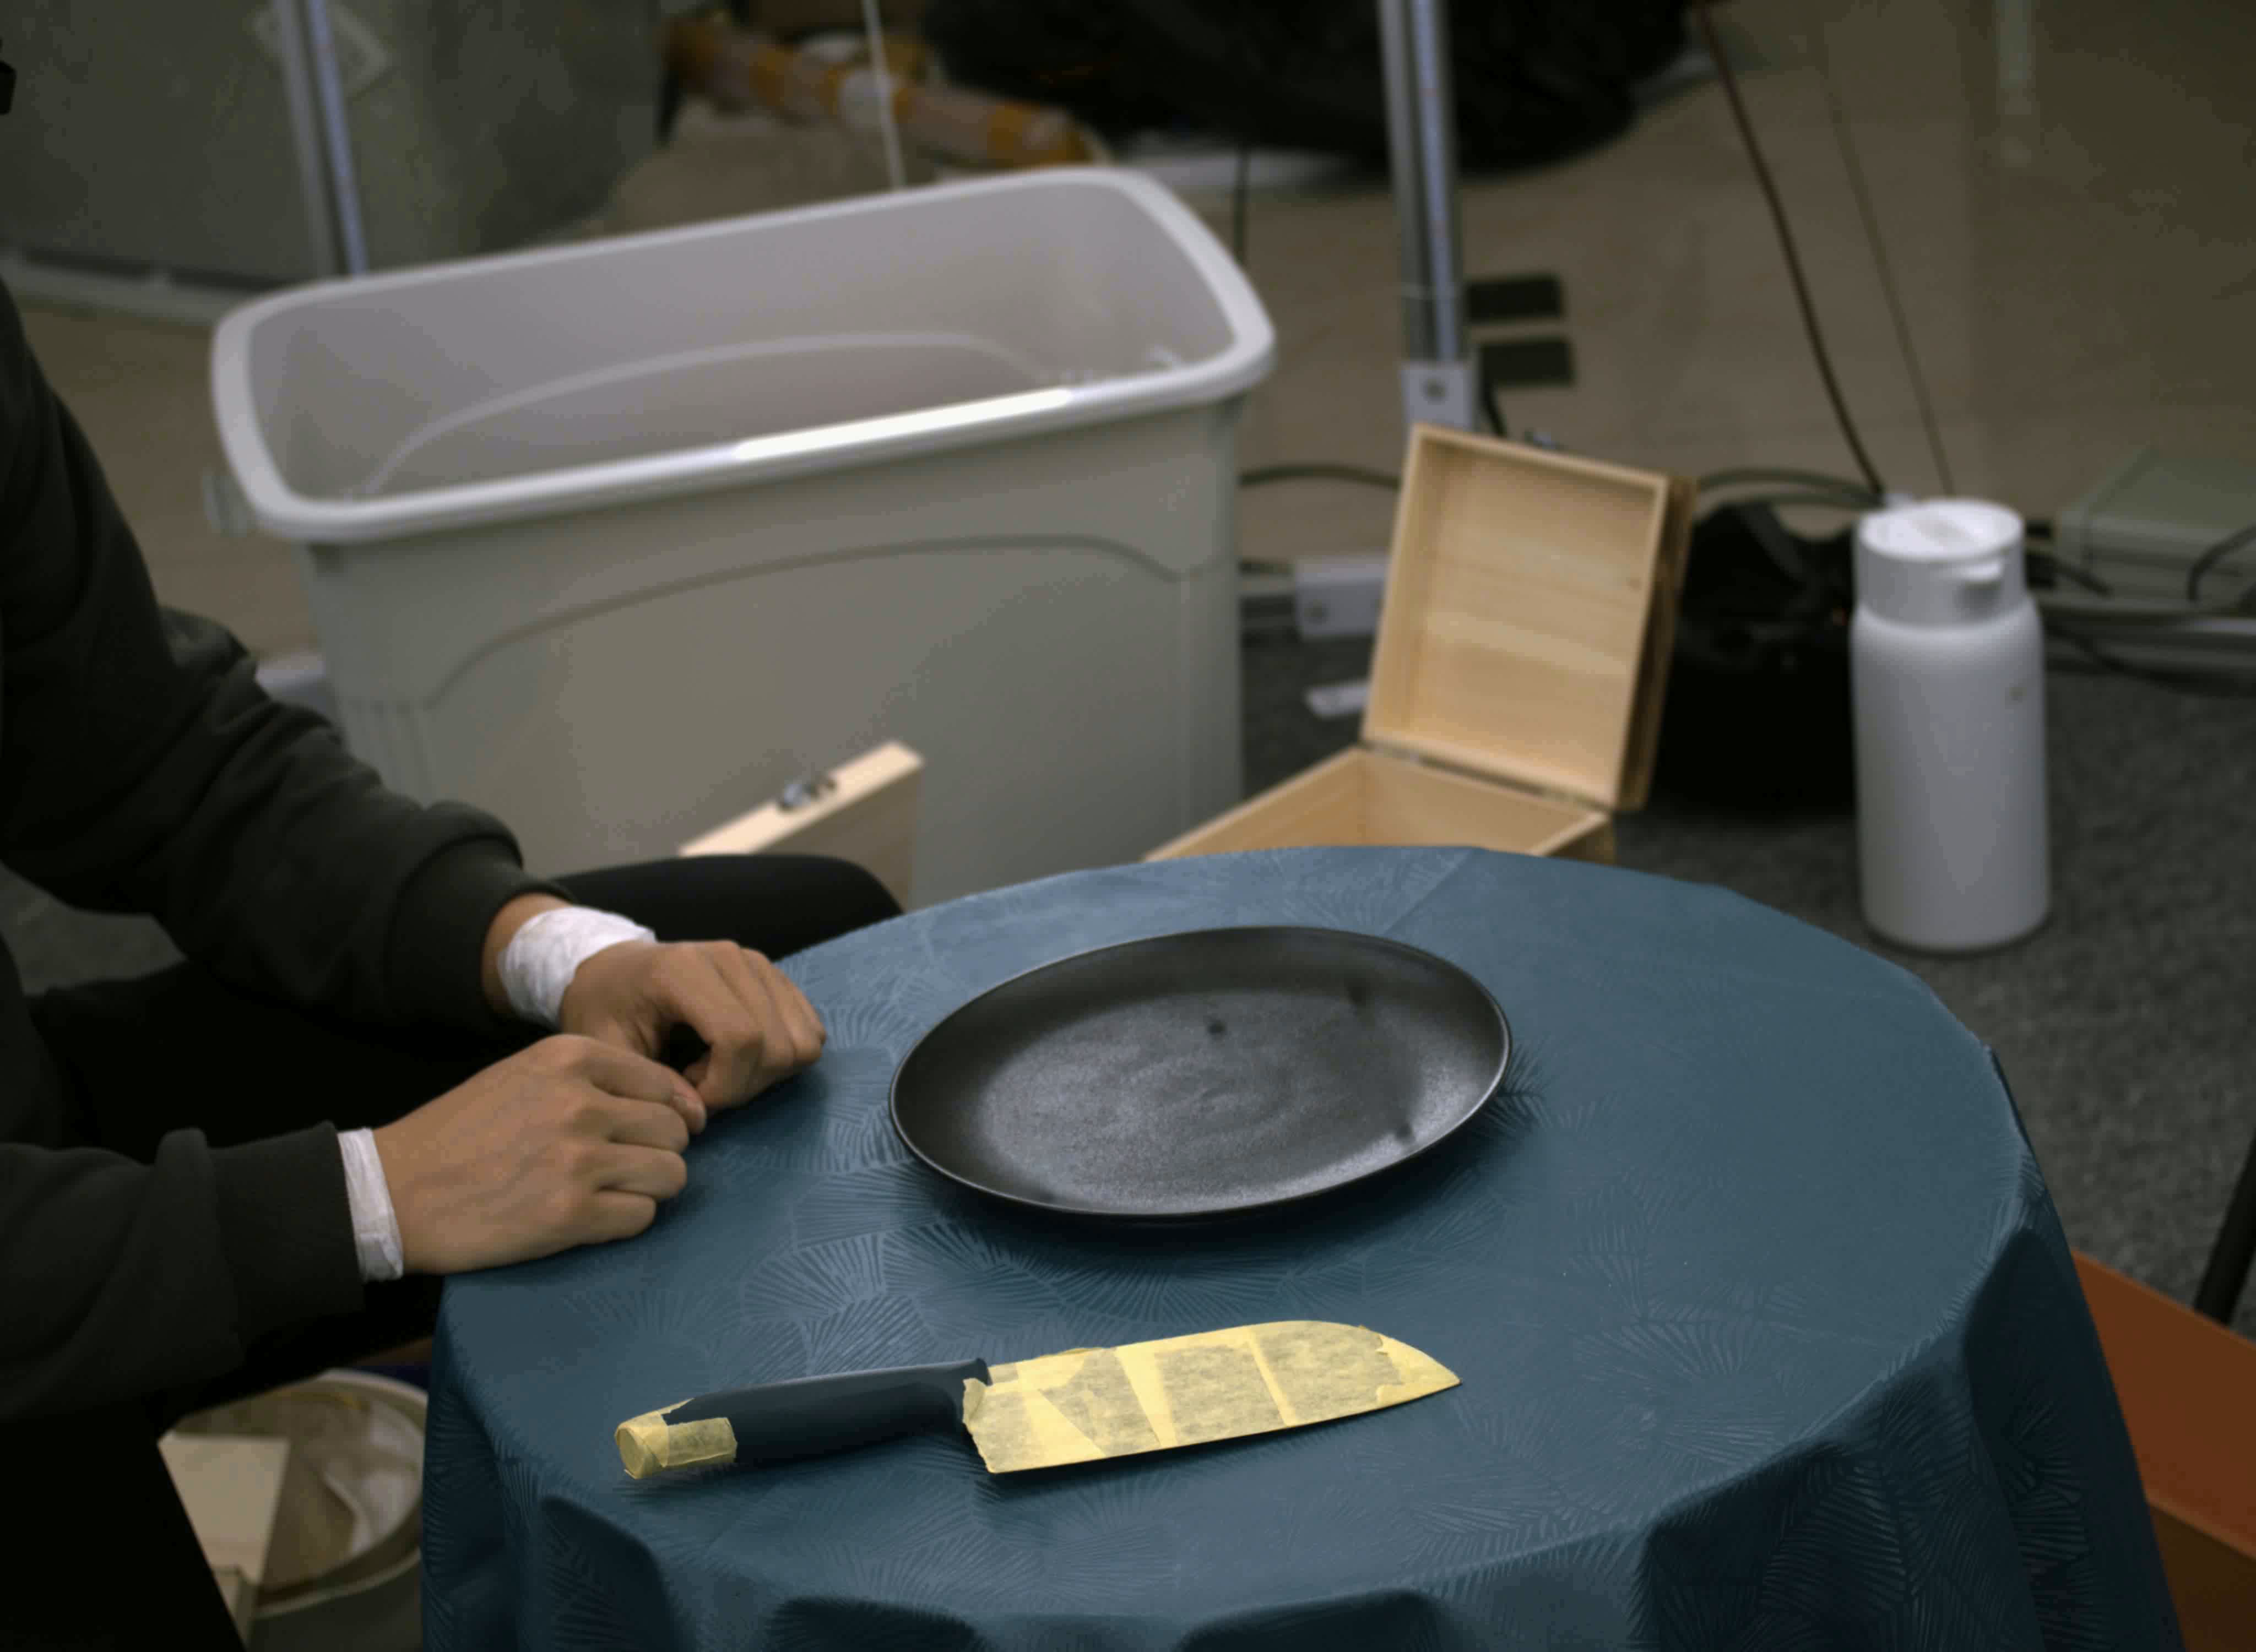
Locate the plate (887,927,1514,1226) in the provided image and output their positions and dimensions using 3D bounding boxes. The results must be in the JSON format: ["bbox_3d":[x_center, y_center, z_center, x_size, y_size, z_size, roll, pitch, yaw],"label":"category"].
[{"bbox_3d":[0.029,0.102,2.197,0.244,0.024,0.241,-5,25,3],"label":"plate"}]

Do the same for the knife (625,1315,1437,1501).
[{"bbox_3d":[-0.032,0.207,1.996,0.289,0.027,0.080,-9,23,-7],"label":"knife"}]
